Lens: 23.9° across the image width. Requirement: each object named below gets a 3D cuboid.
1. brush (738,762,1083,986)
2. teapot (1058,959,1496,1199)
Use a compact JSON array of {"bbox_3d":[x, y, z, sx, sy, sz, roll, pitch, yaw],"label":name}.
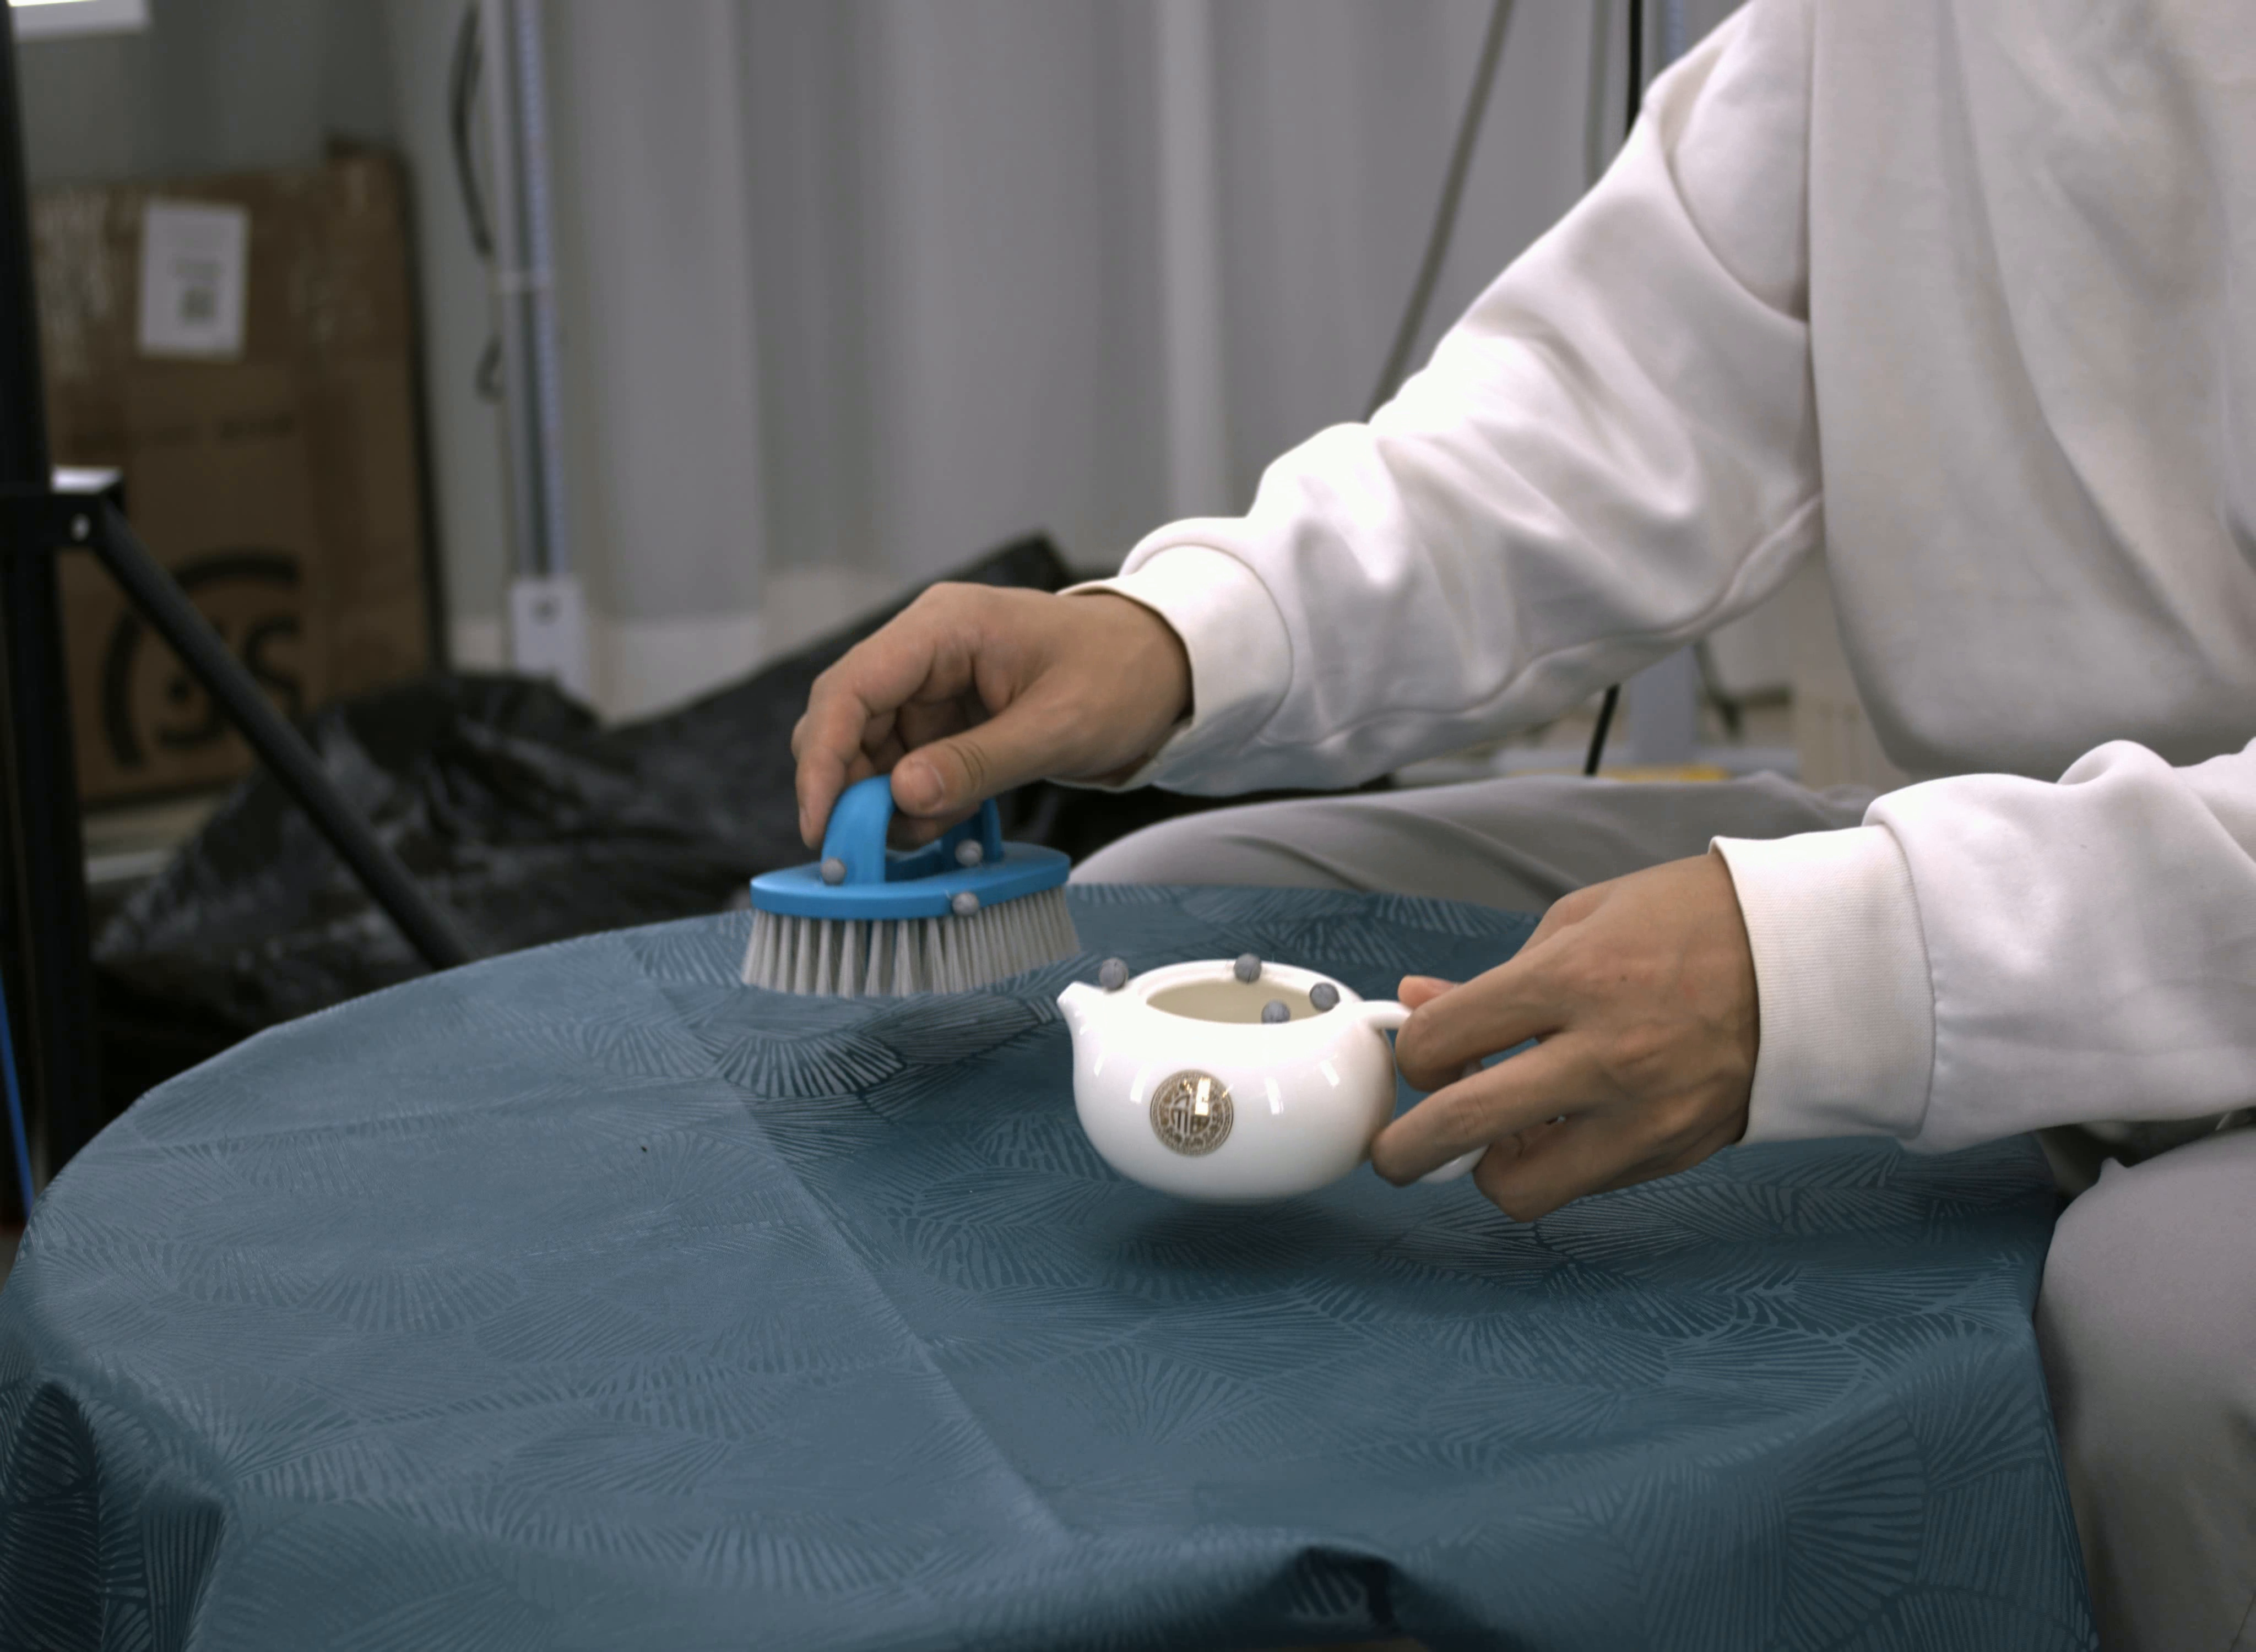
[{"bbox_3d":[-0.070,0.013,1.684,0.085,0.064,0.139,-3,3,24],"label":"brush"},{"bbox_3d":[0.042,0.073,1.511,0.127,0.057,0.093,3,11,6],"label":"teapot"}]
